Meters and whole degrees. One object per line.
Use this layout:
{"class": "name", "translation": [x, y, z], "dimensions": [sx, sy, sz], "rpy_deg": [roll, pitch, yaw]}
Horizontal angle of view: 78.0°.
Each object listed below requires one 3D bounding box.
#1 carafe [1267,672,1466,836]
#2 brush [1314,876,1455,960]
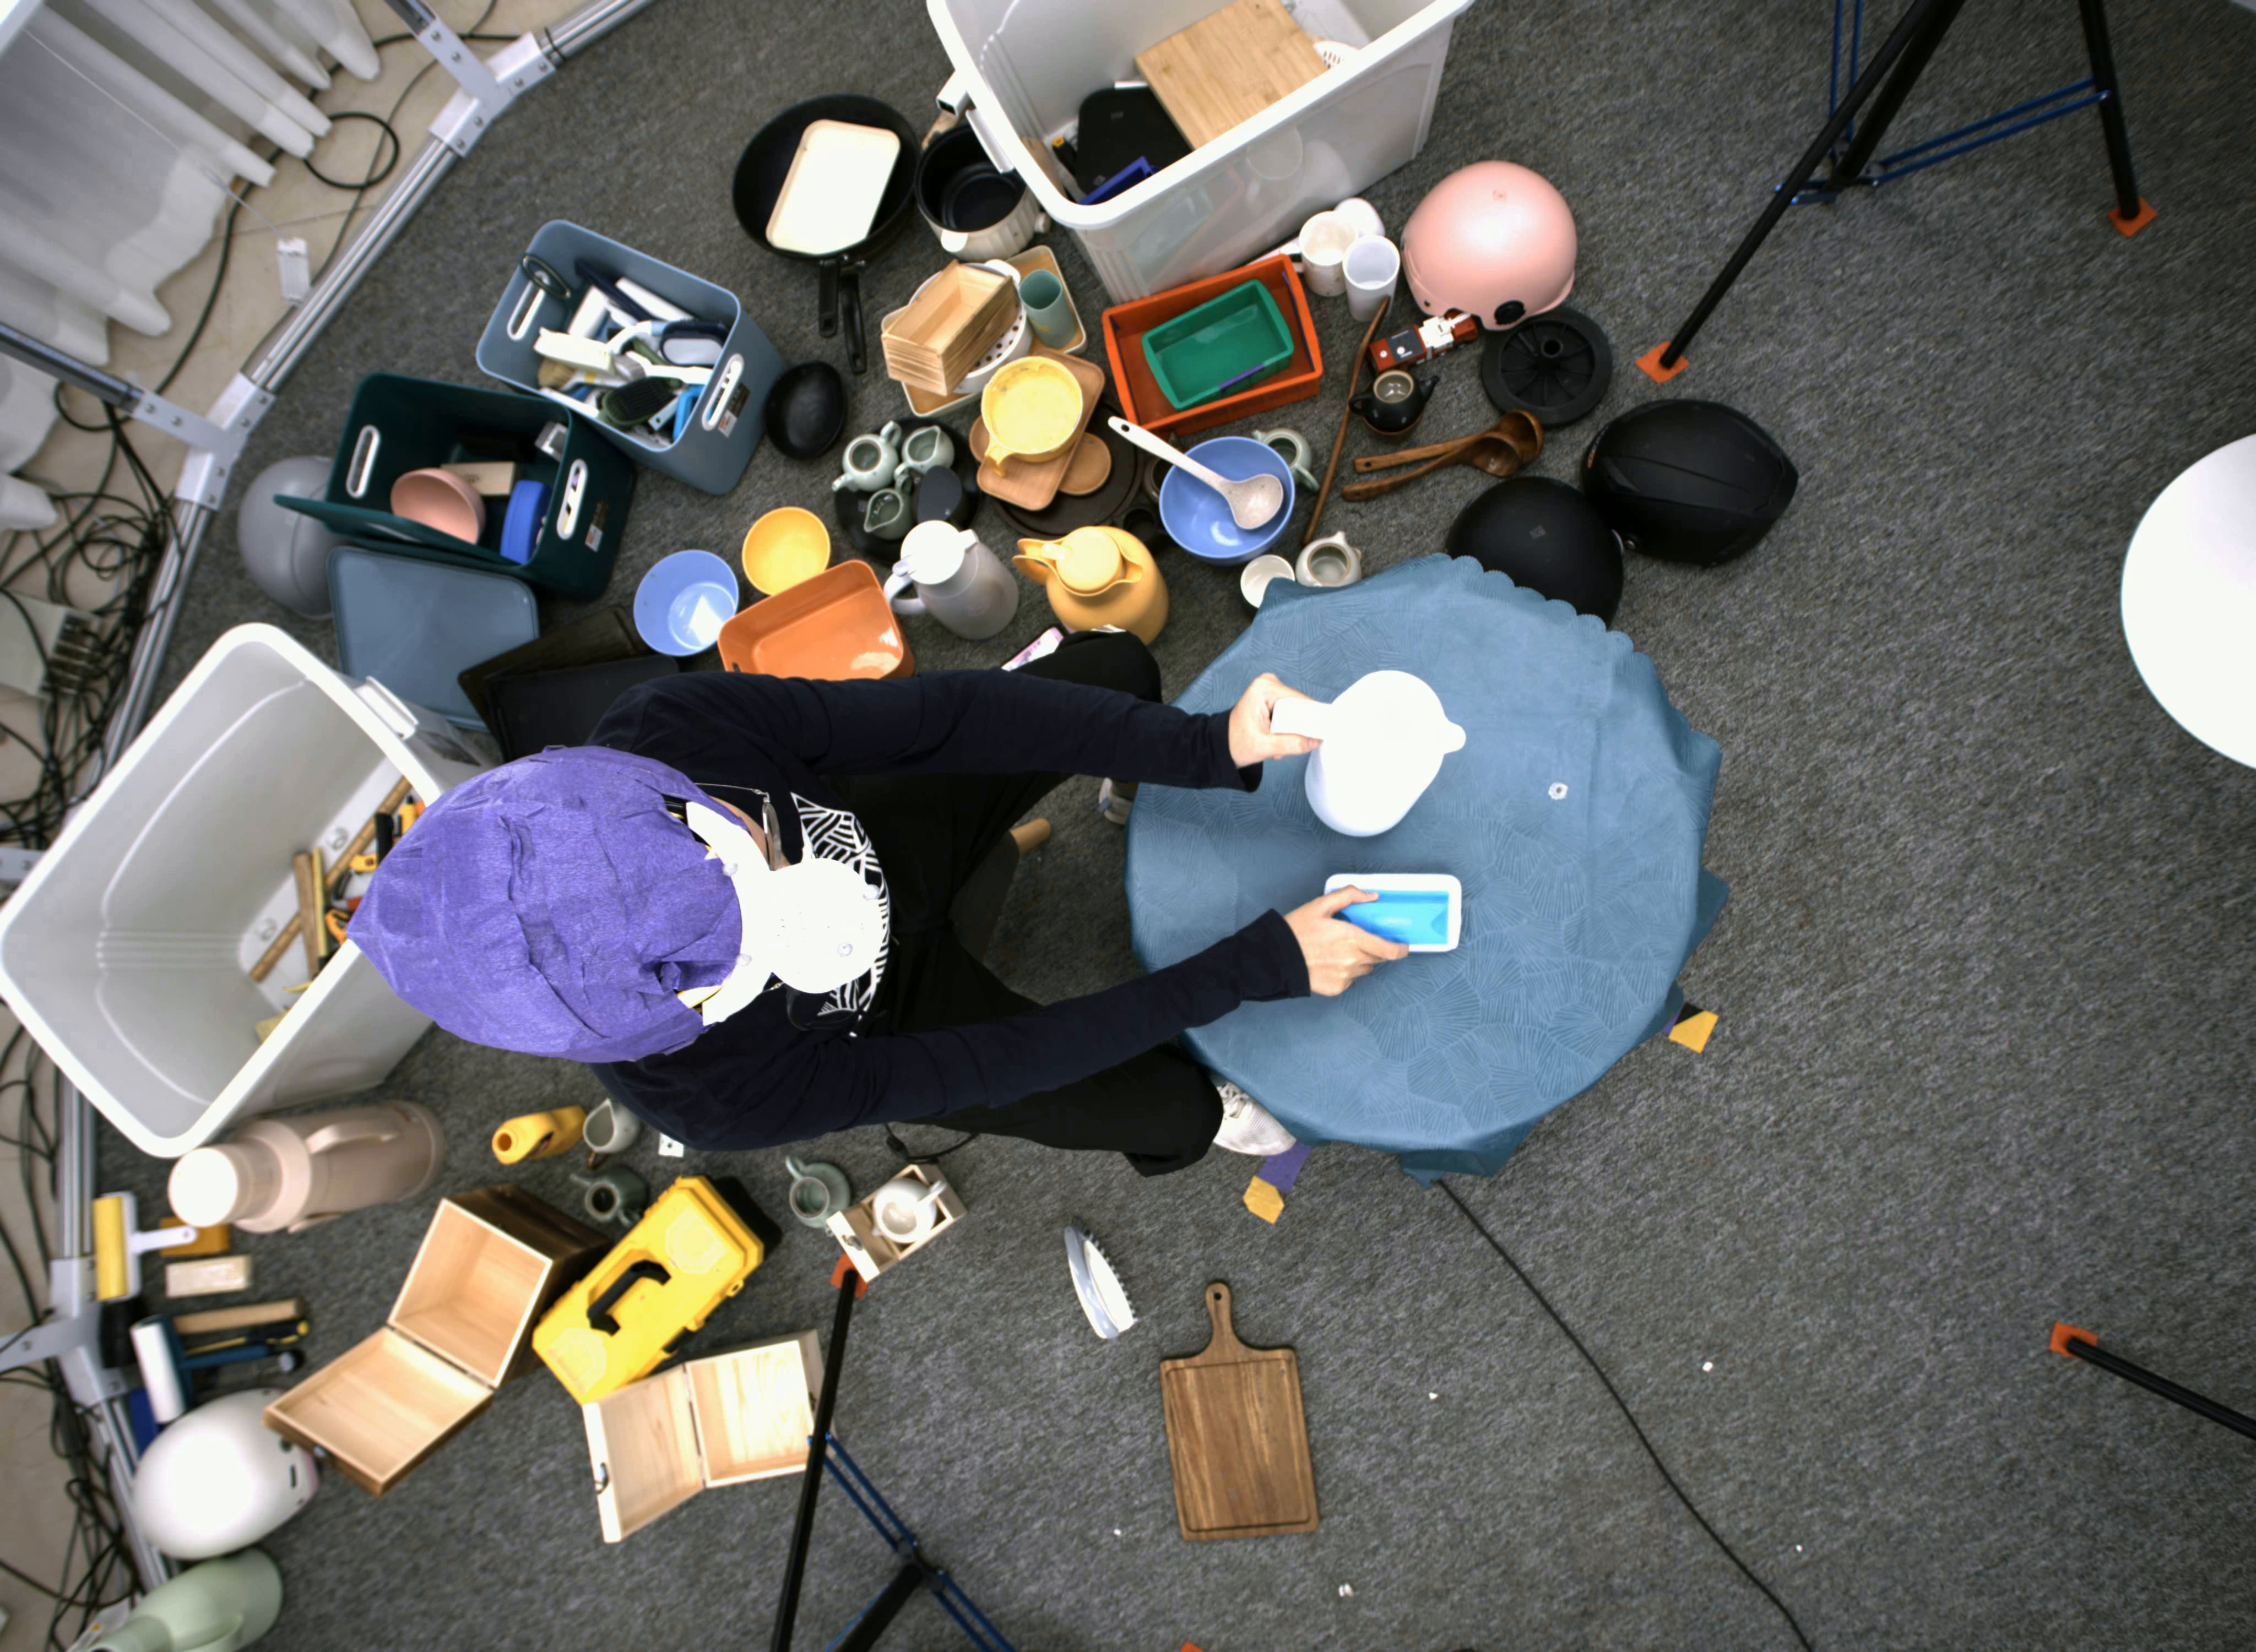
{"class": "carafe", "translation": [0.221, -0.068, 1.334], "dimensions": [0.173, 0.270, 0.123], "rpy_deg": [6, 84, 6]}
{"class": "brush", "translation": [0.264, 0.095, 1.415], "dimensions": [0.144, 0.055, 0.084], "rpy_deg": [3, 96, 4]}
